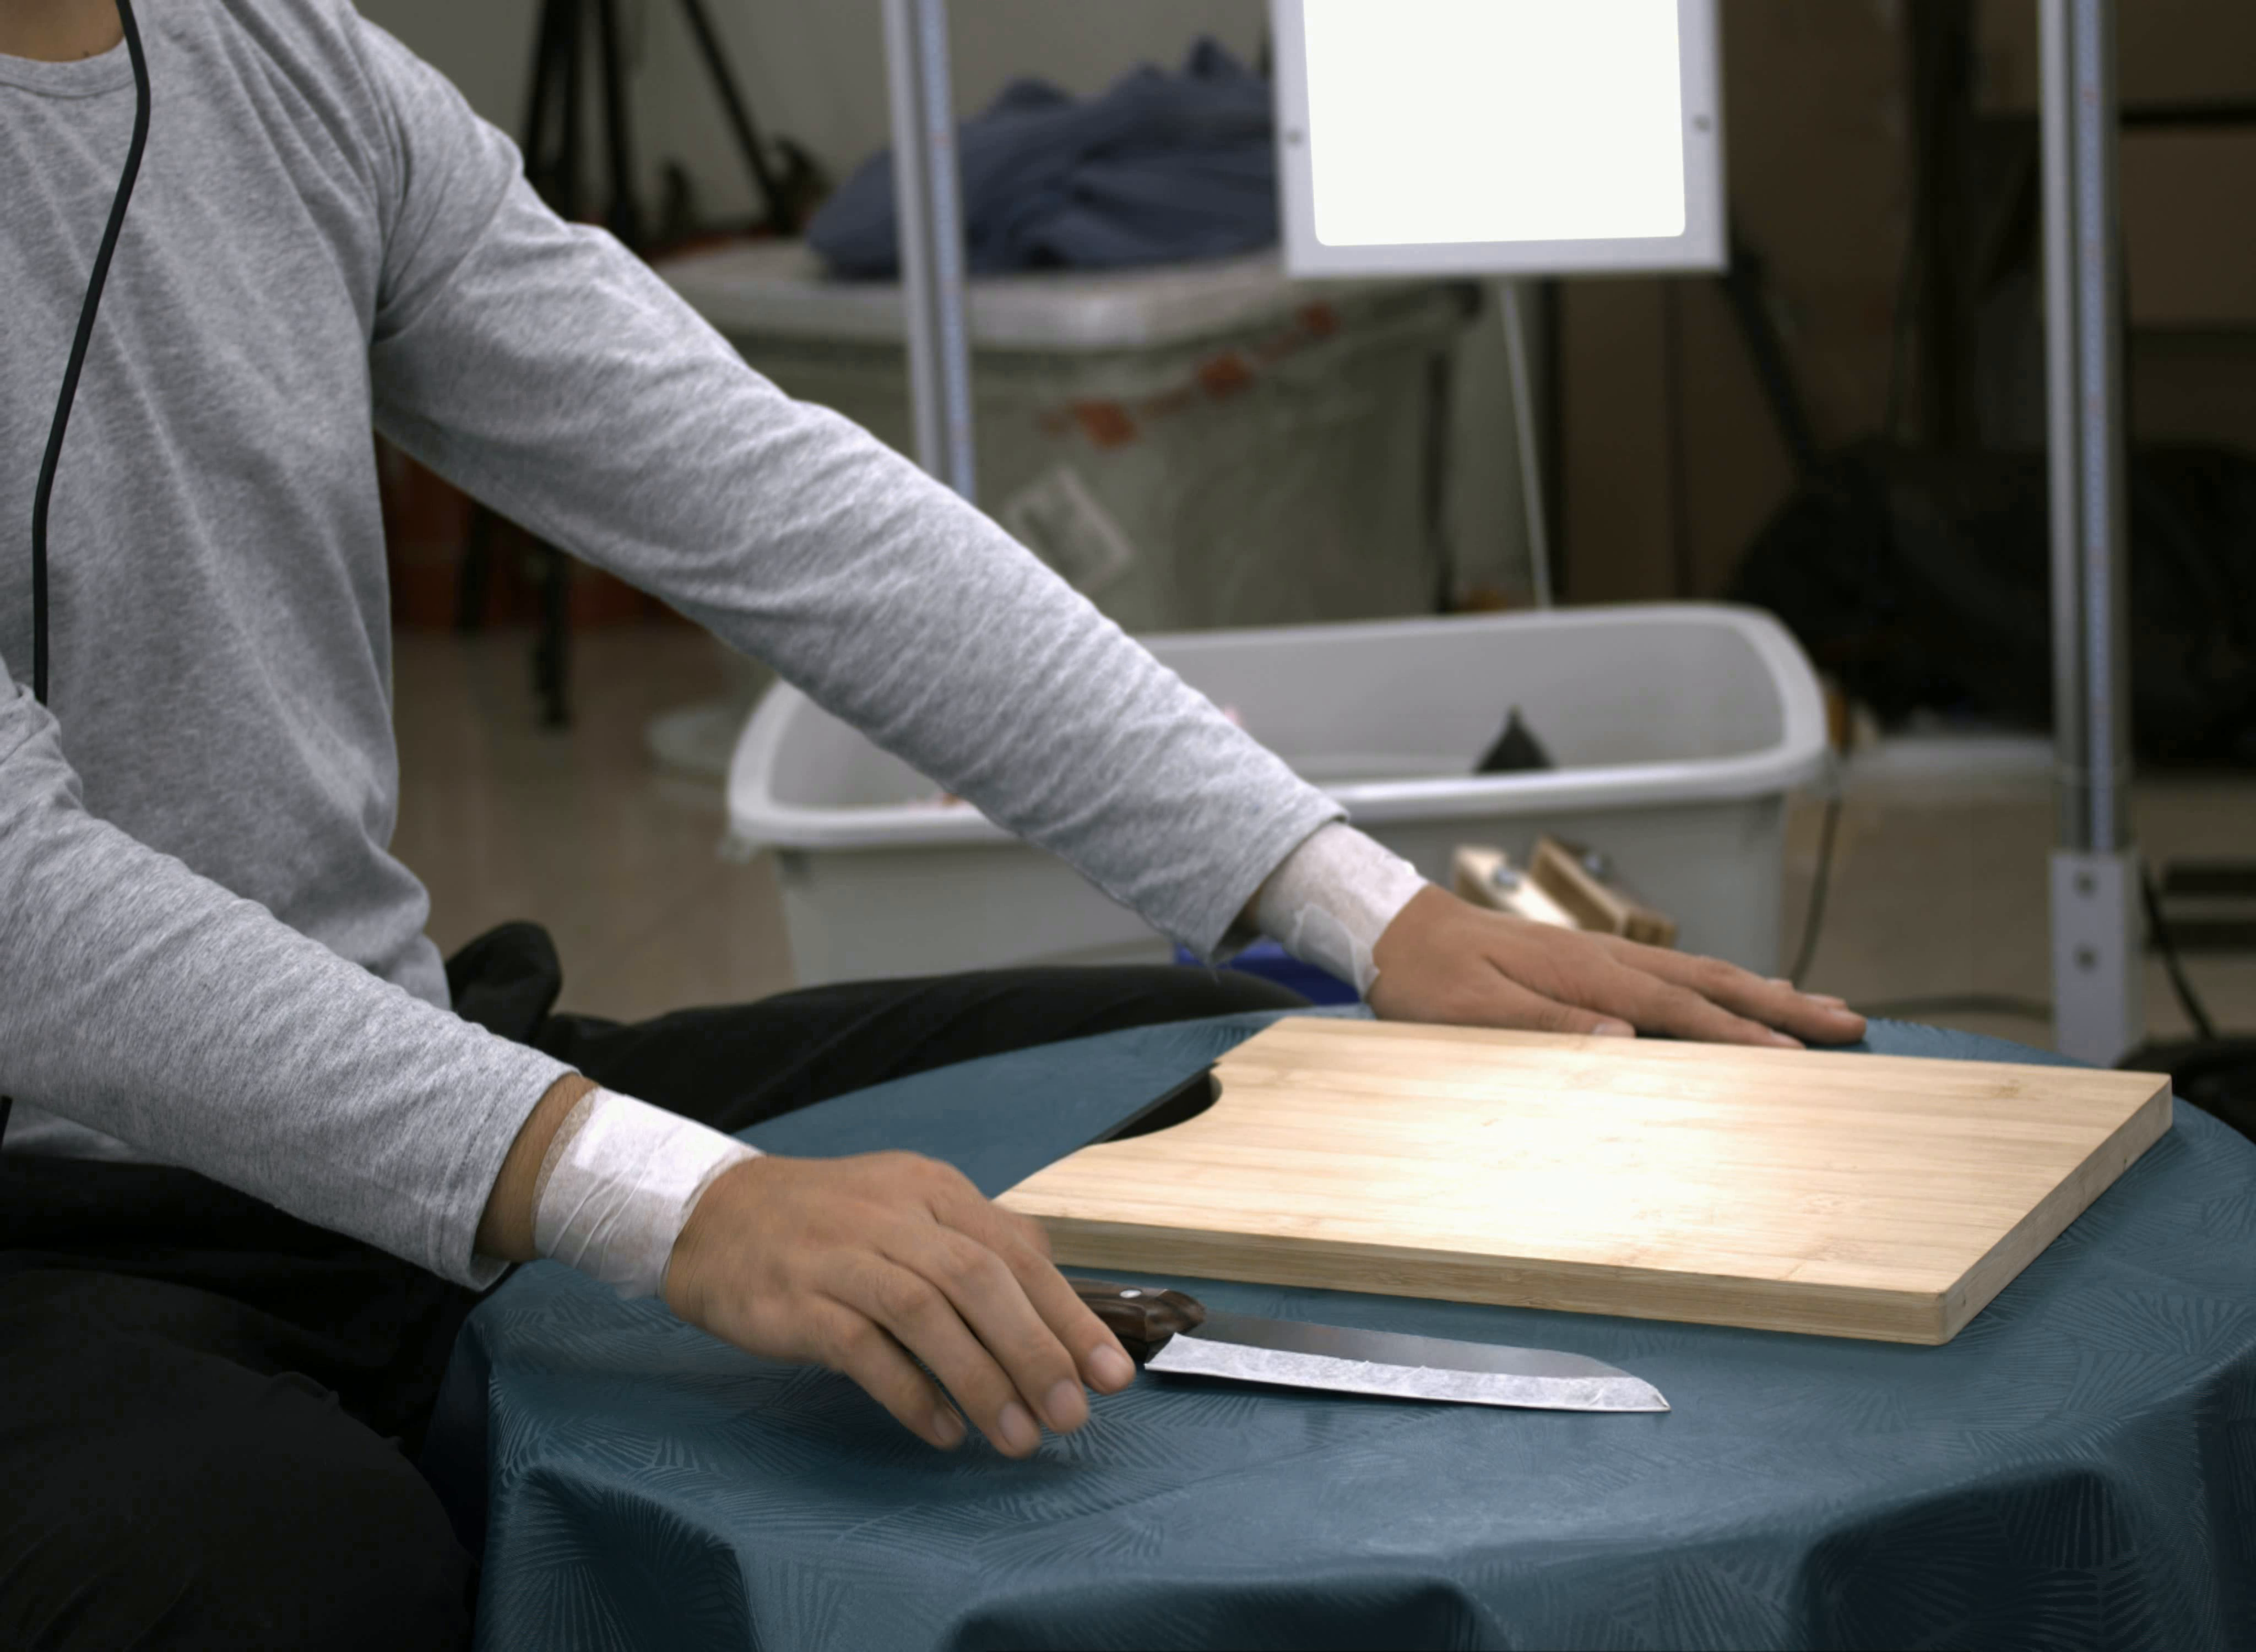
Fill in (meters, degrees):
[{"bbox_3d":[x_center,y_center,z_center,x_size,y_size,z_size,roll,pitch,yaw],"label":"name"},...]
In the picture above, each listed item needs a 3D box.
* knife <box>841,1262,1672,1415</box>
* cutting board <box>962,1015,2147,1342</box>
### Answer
[{"bbox_3d":[0.035,0.162,1.715,0.294,0.020,0.049,5,23,28],"label":"knife"},{"bbox_3d":[0.150,0.115,1.862,0.355,0.023,0.245,2,15,29],"label":"cutting board"}]
